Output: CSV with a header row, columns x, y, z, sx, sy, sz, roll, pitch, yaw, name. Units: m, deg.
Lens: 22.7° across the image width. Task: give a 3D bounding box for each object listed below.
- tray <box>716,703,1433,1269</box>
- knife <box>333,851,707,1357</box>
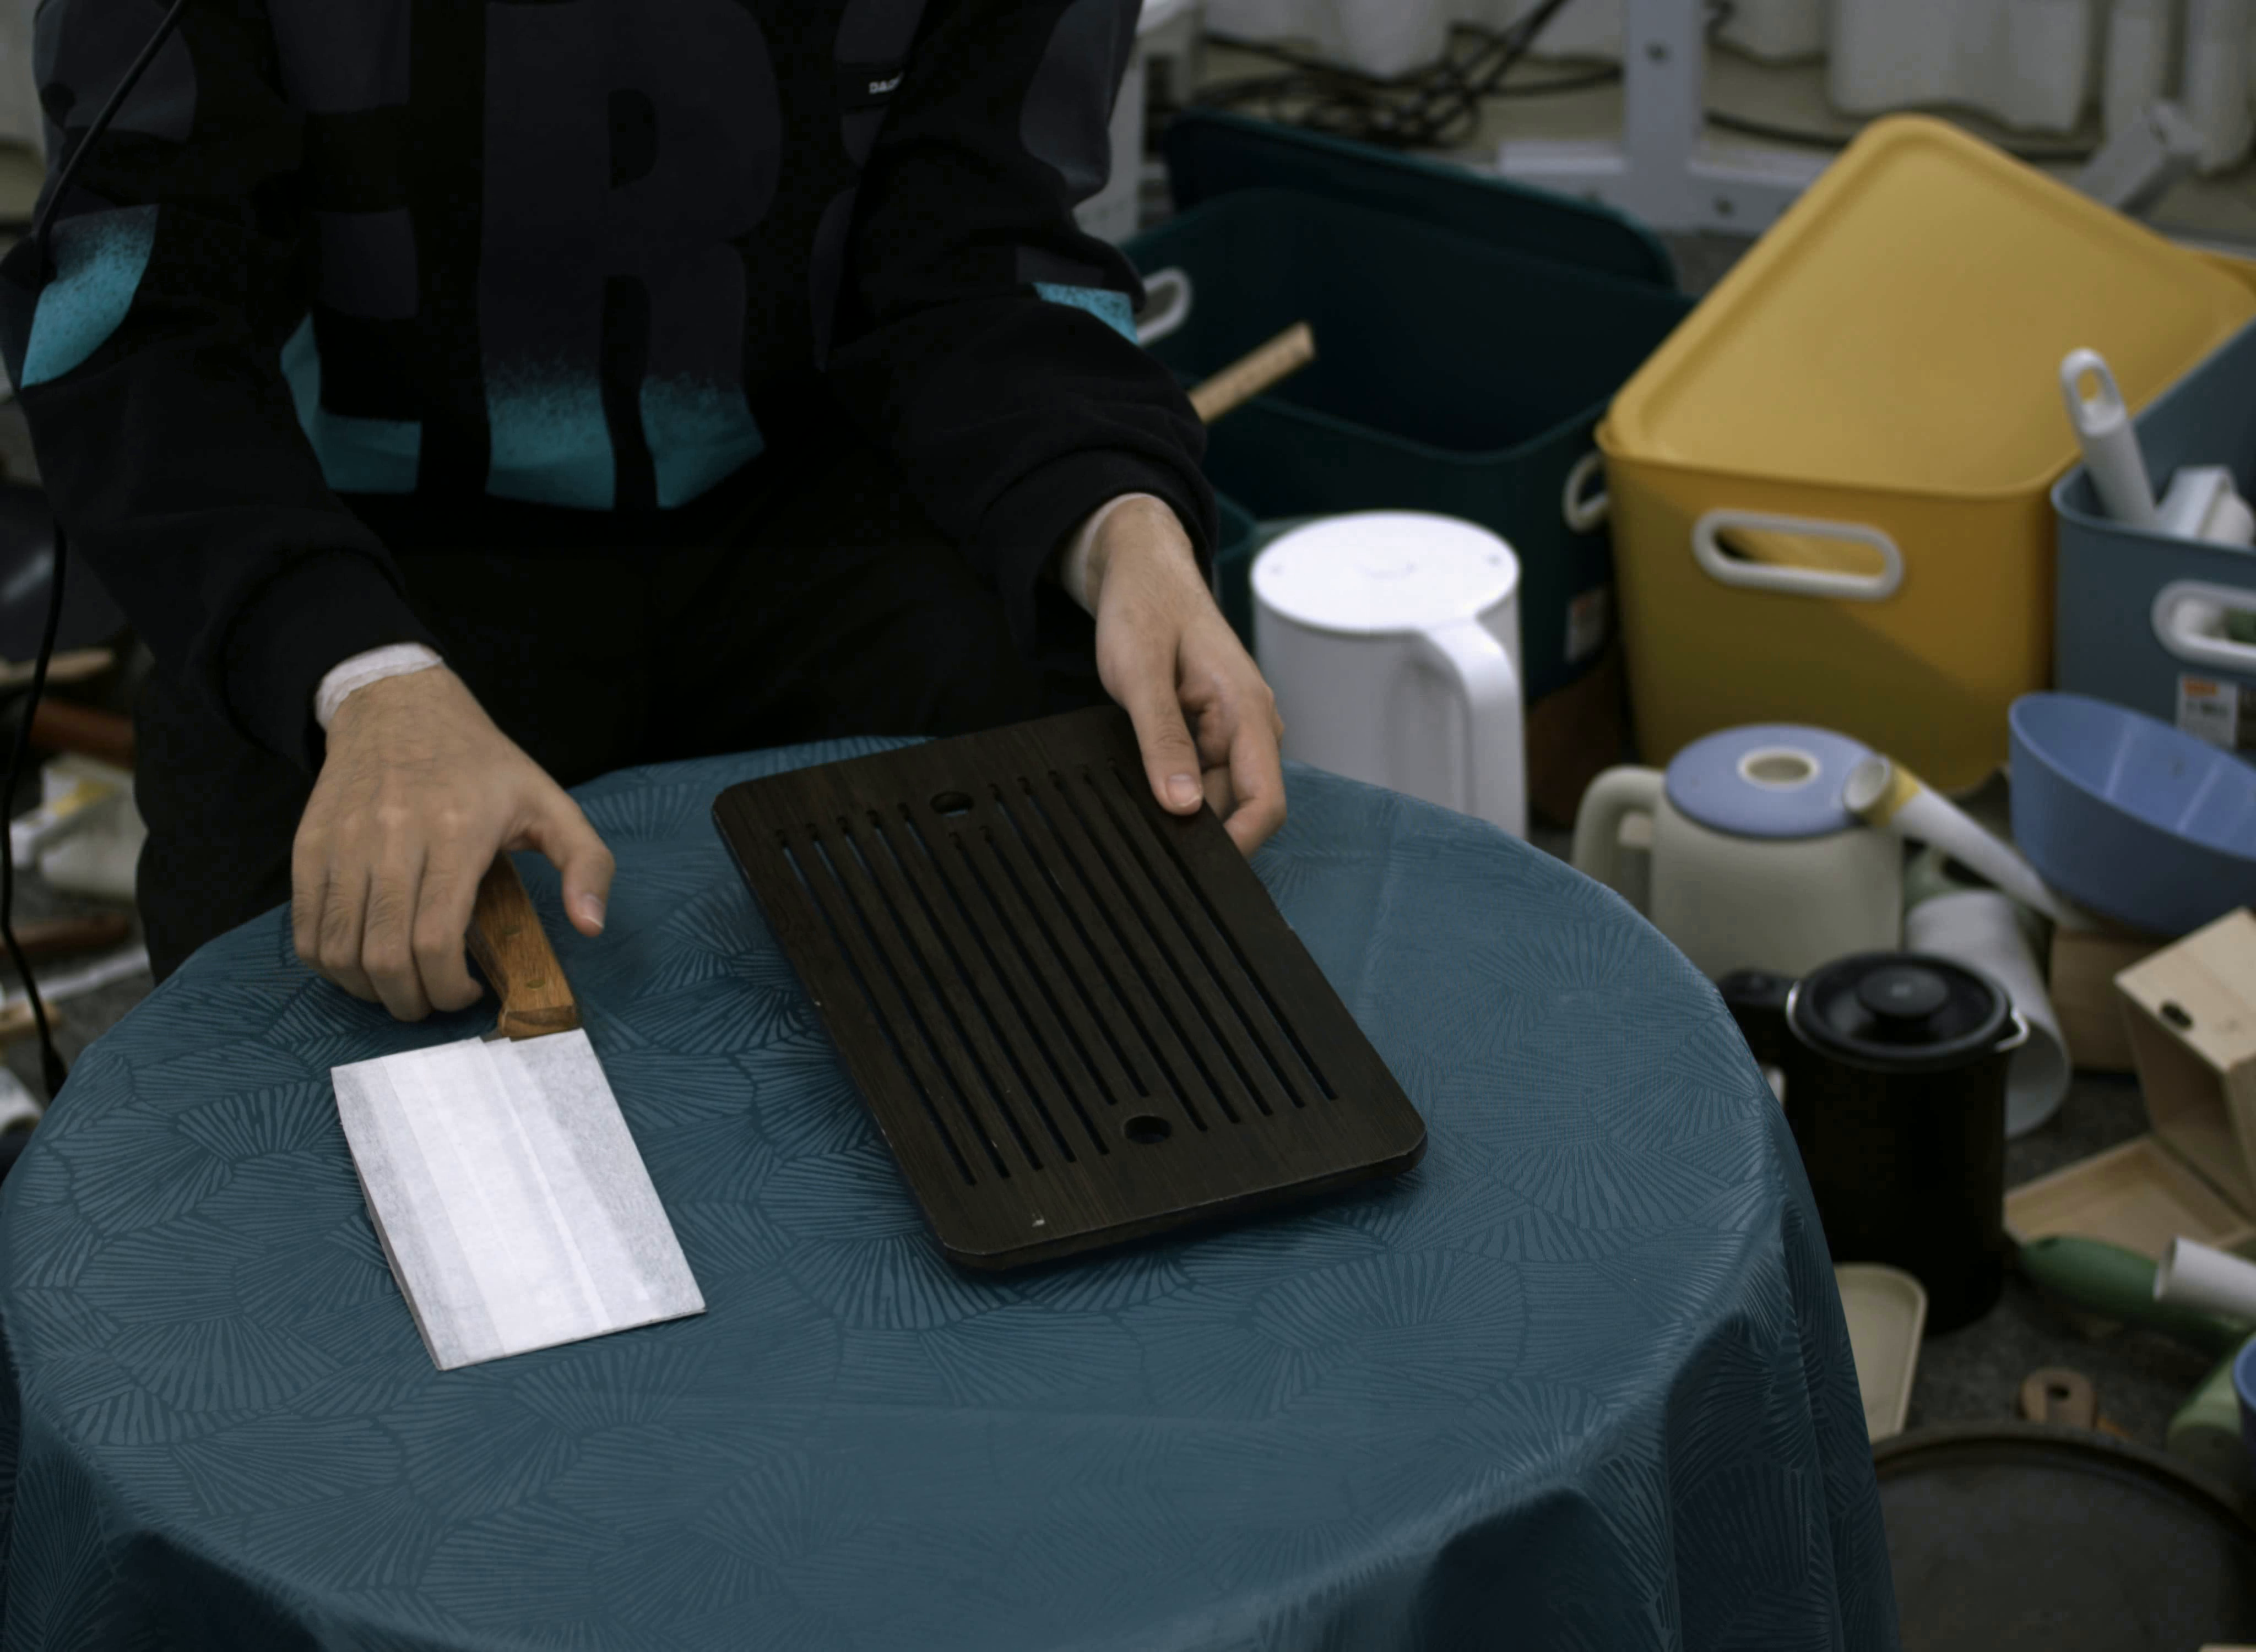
x,y,z,sx,sy,sz,roll,pitch,yaw,name
-0.024,0.052,1.953,0.170,0.018,0.309,-12,34,-15,tray
-0.221,0.094,1.922,0.093,0.021,0.309,-12,31,-13,knife
